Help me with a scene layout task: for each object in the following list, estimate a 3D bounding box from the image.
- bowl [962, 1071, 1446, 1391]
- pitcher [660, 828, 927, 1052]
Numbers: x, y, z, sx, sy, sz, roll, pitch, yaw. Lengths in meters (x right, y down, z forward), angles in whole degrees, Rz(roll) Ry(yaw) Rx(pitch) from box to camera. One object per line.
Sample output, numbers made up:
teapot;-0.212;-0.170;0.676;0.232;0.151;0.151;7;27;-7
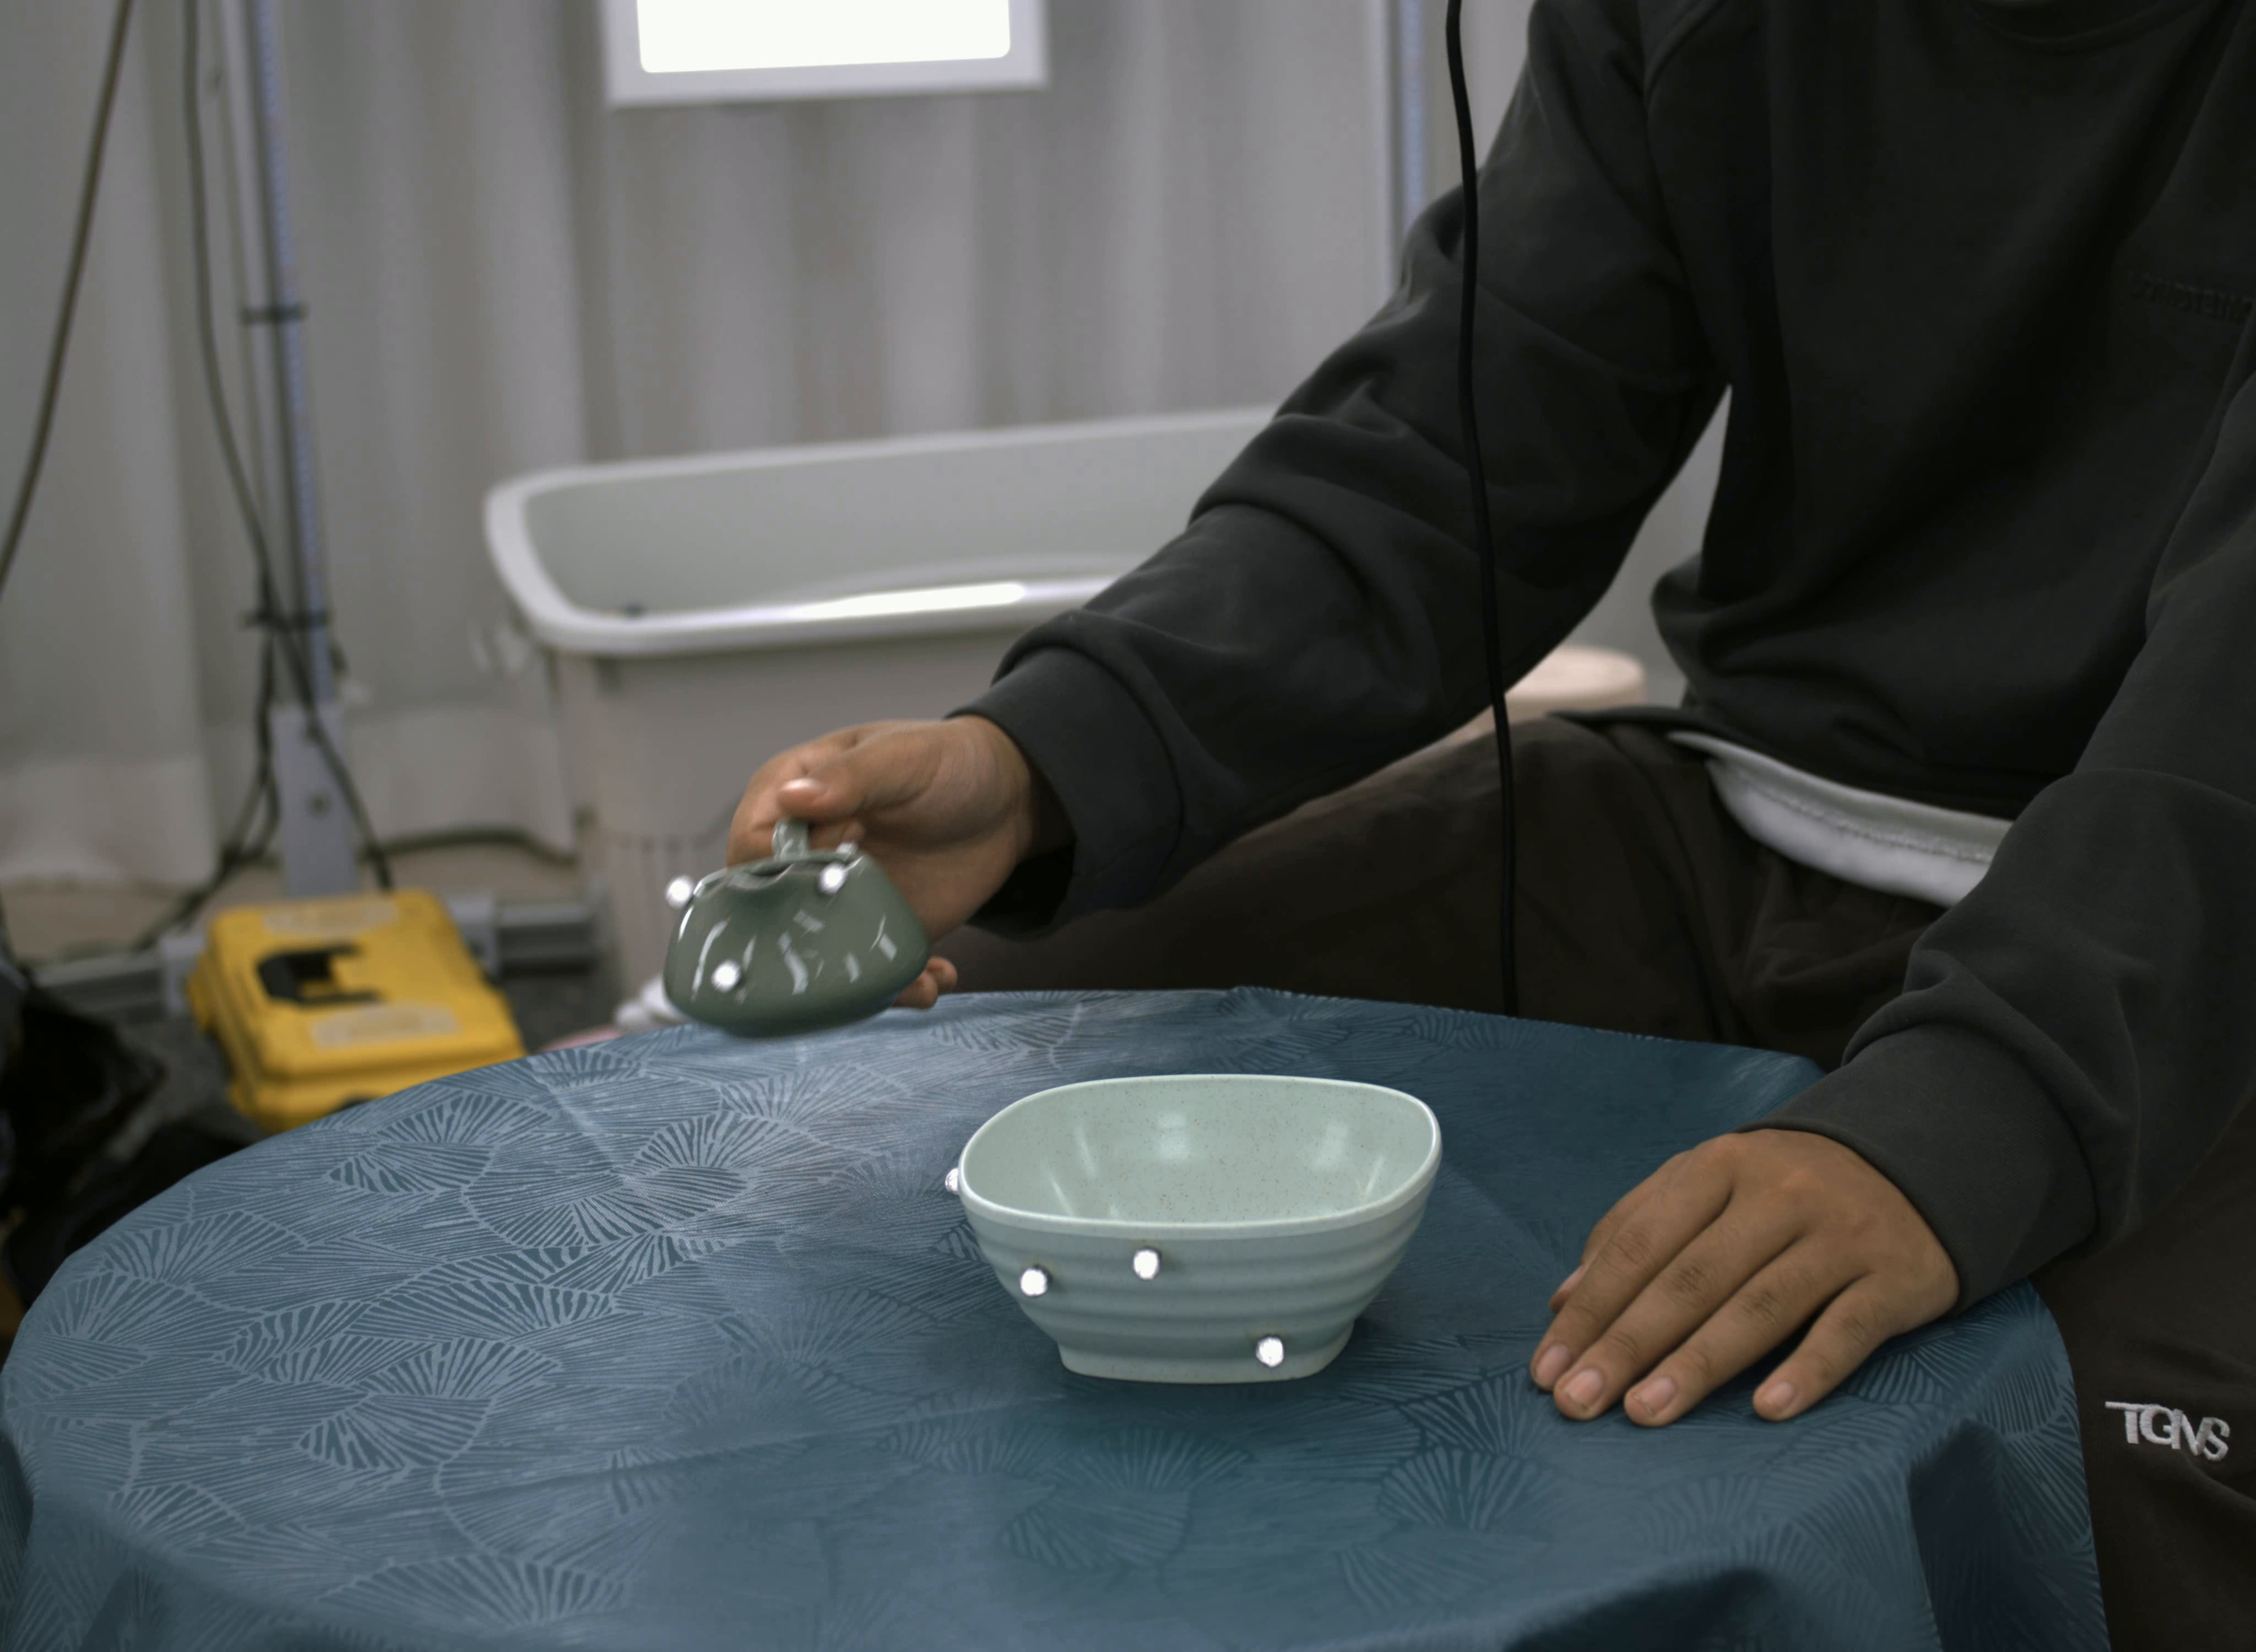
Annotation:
bowl;0.023;0.121;1.584;0.151;0.058;0.152;-3;16;1
pitcher;-0.106;0.035;1.708;0.084;0.056;0.113;-10;9;3
